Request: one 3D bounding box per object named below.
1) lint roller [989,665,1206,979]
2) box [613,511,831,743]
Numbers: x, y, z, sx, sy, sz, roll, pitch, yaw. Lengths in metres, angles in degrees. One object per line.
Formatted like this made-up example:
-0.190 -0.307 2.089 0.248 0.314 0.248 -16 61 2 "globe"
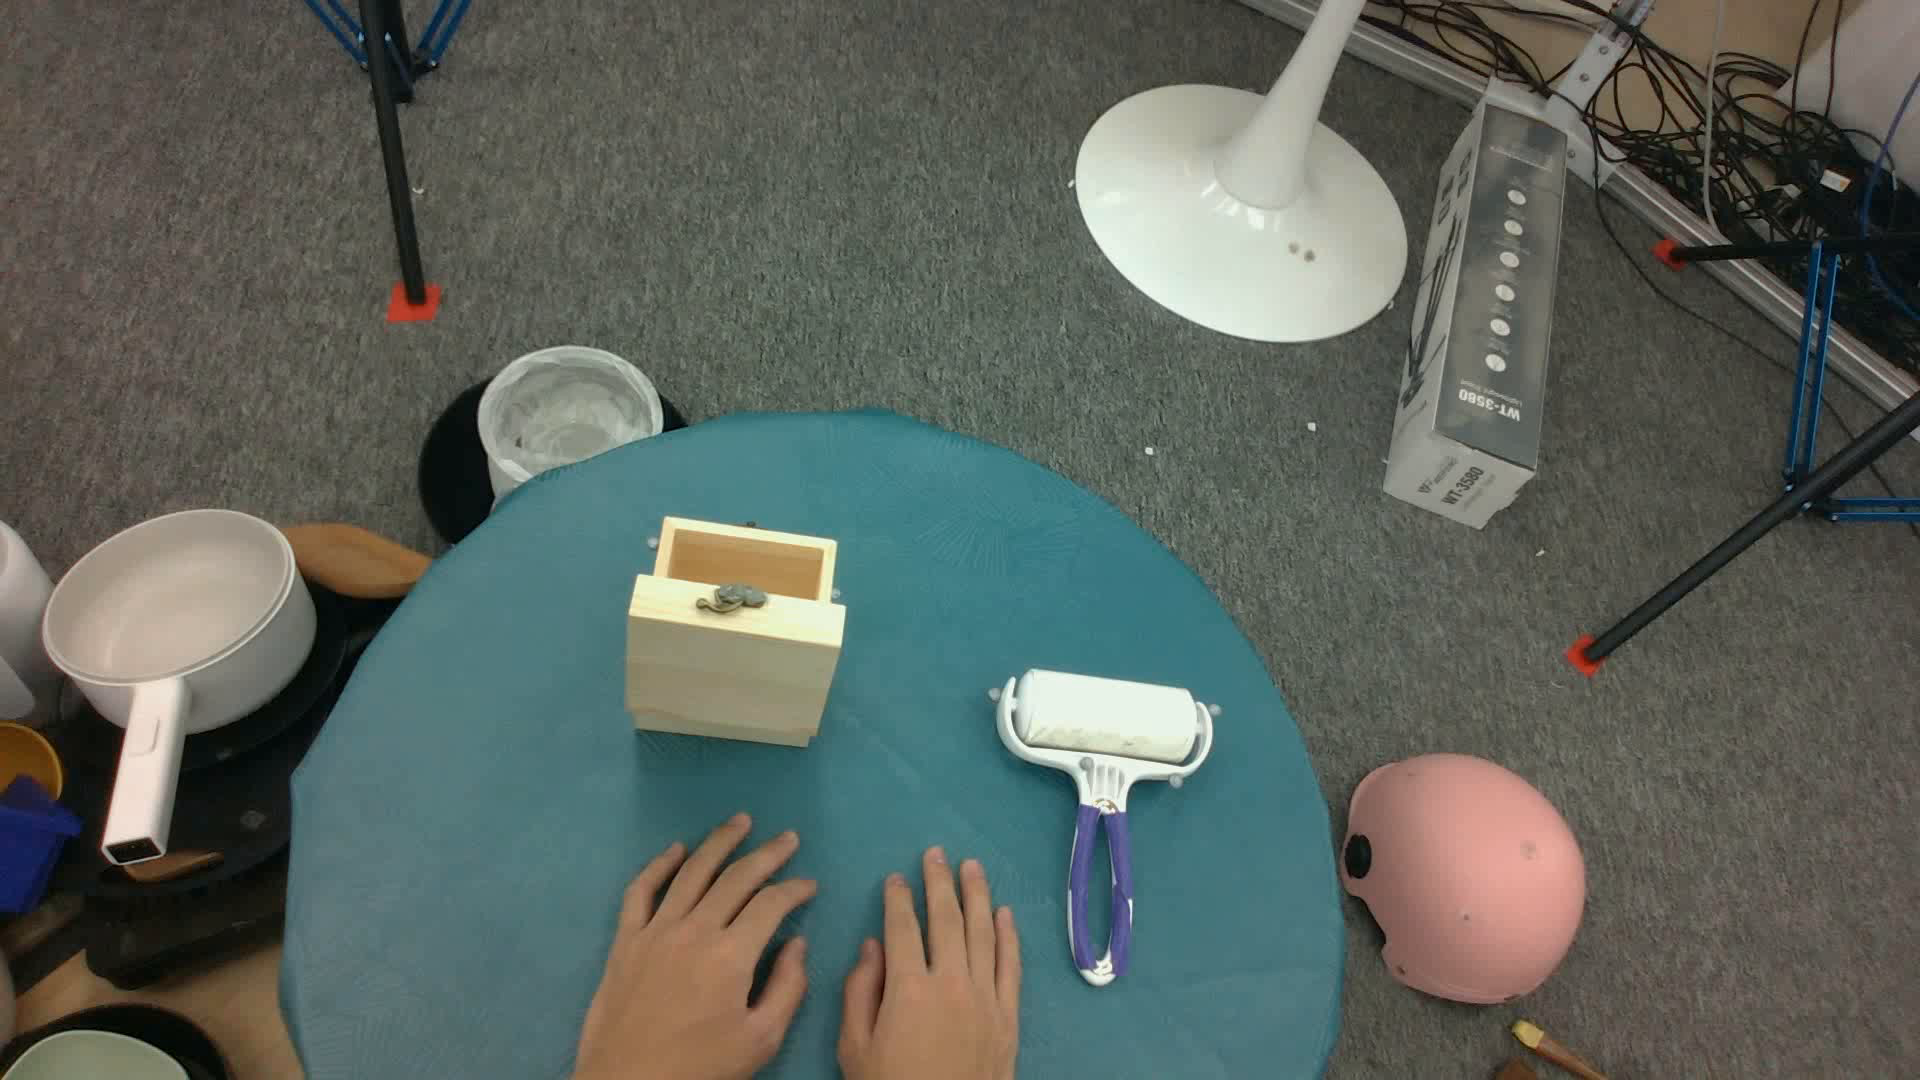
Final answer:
0.080 0.160 0.806 0.133 0.050 0.181 10 55 -8 "lint roller"
-0.126 0.033 0.754 0.102 0.183 0.134 8 58 -8 "box"
